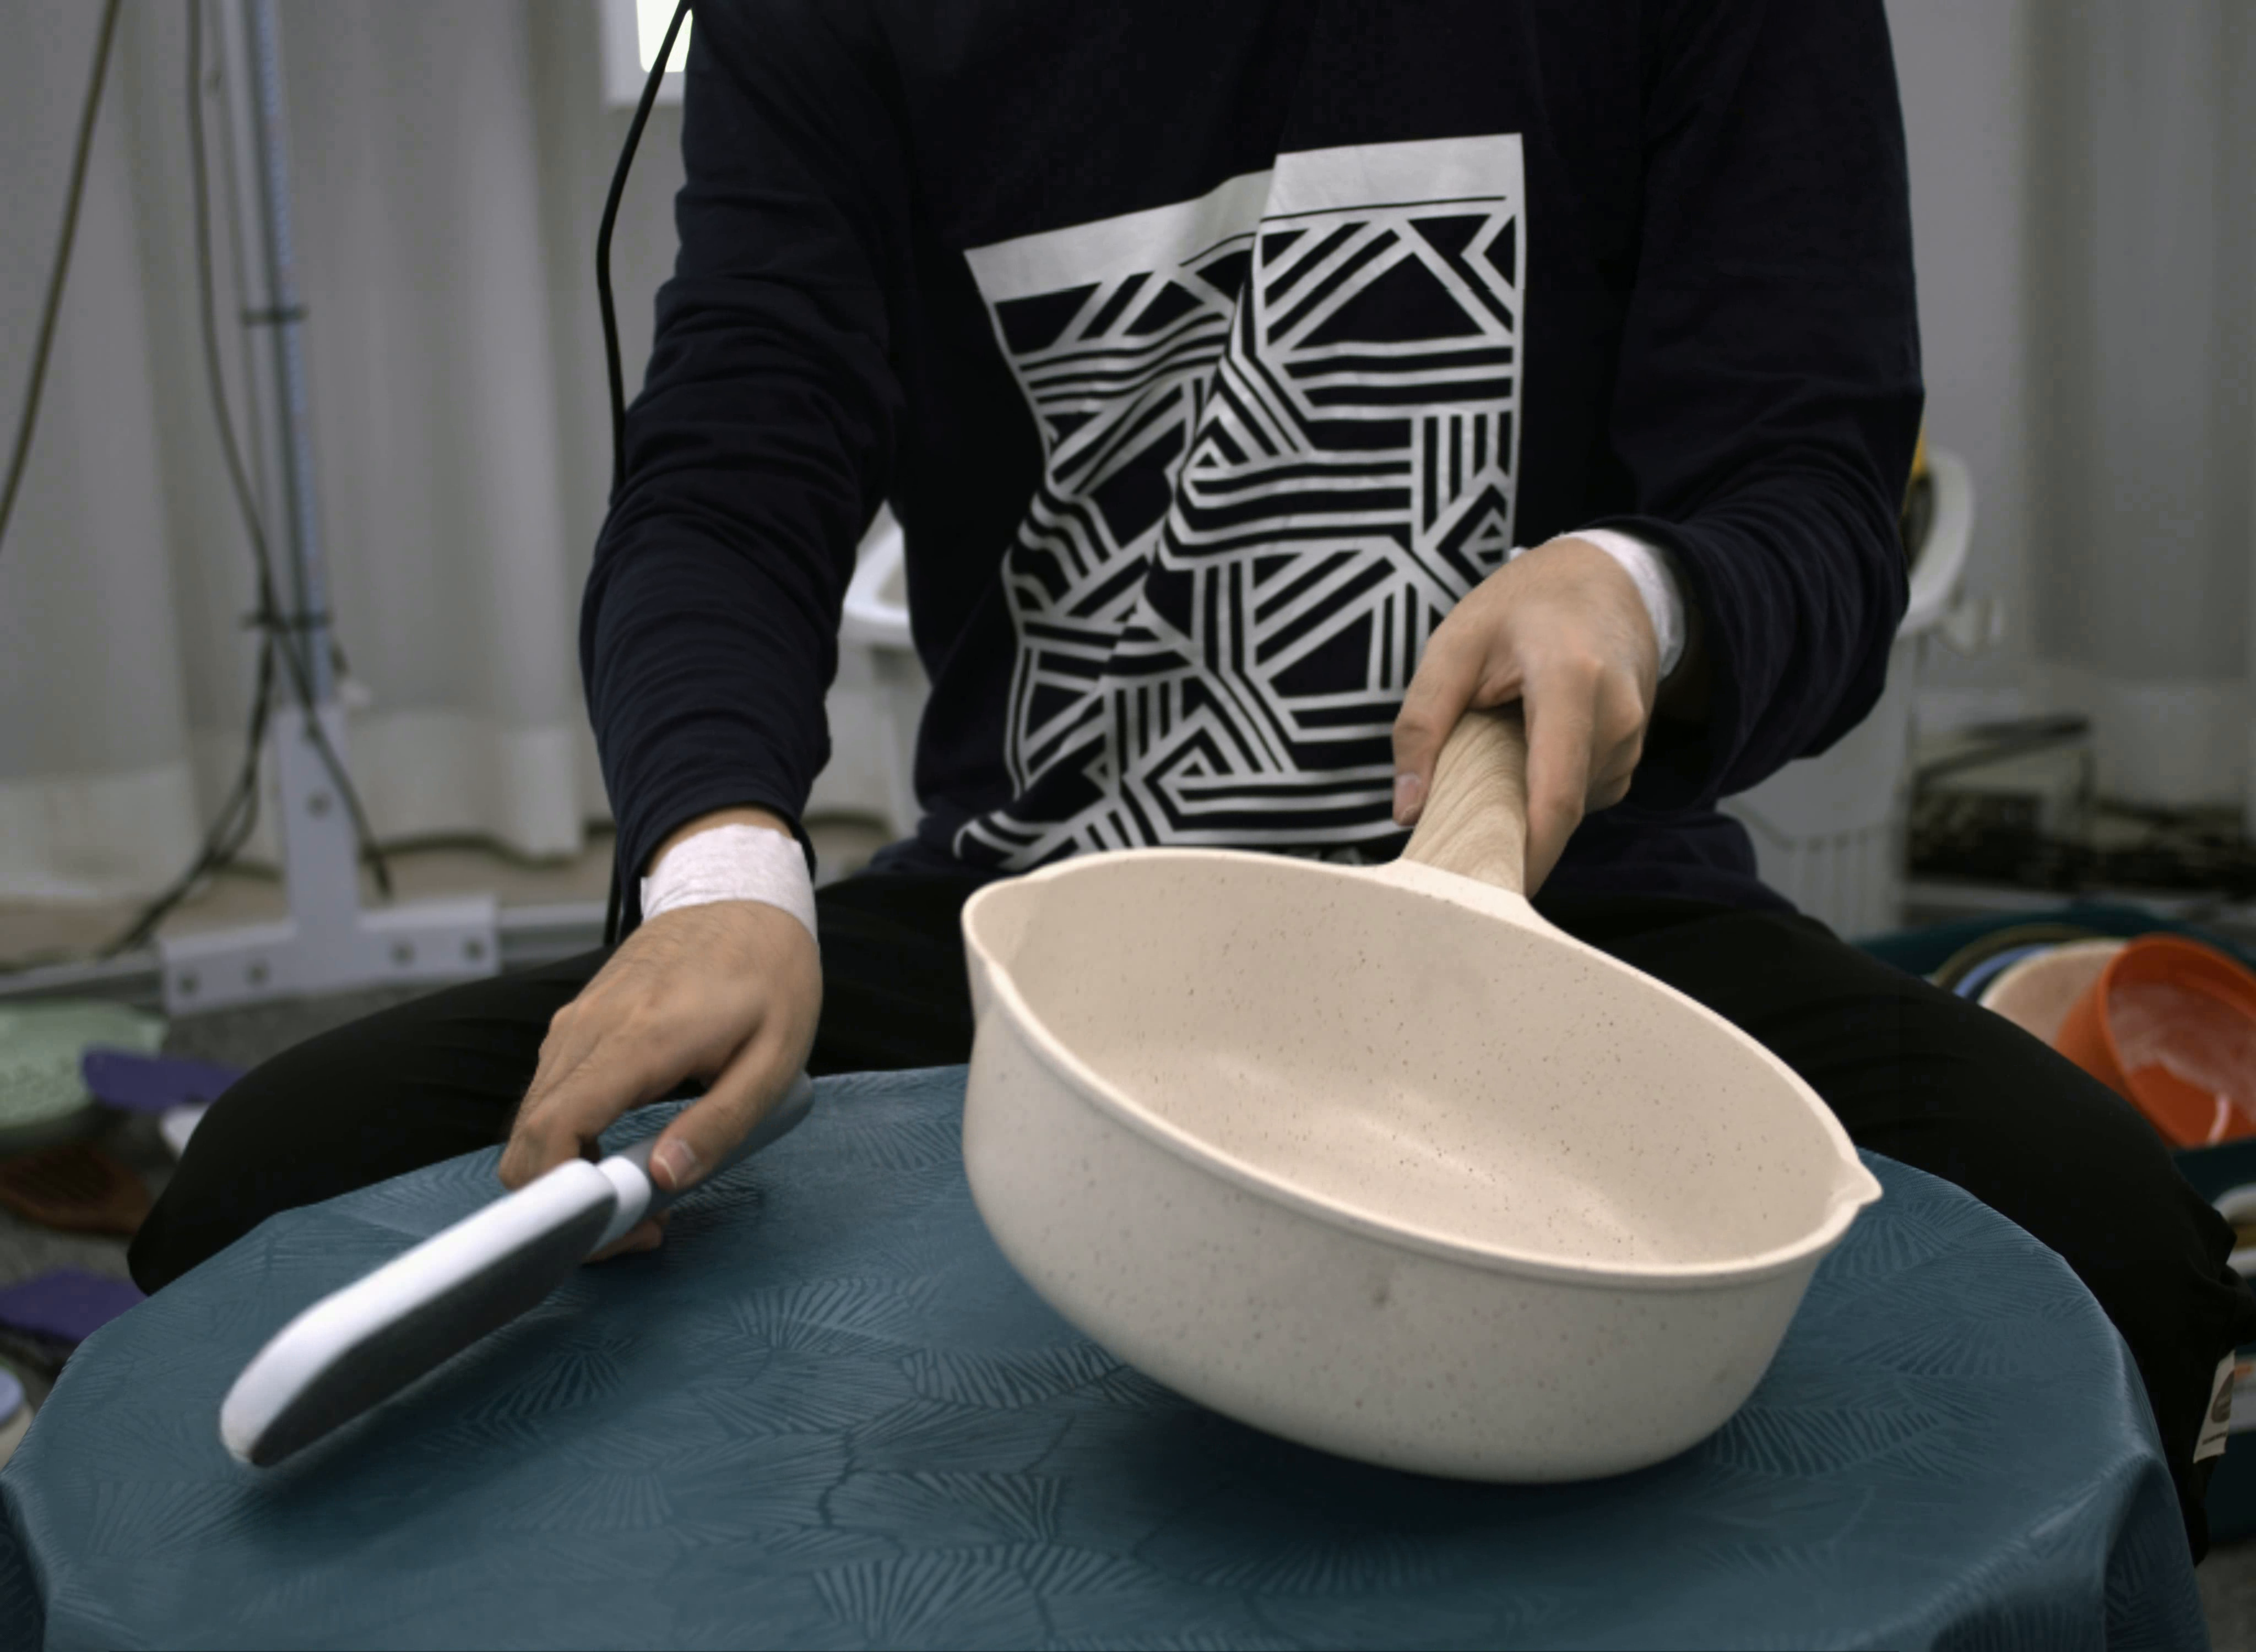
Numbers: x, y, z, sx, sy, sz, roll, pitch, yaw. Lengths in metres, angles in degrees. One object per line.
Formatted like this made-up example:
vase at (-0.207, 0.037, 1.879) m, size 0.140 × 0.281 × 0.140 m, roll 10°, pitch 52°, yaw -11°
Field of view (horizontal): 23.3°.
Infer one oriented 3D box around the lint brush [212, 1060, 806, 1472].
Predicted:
lint brush at (-0.173, 0.121, 1.609) m, size 0.021 × 0.059 × 0.309 m, roll 41°, pitch 27°, yaw 10°

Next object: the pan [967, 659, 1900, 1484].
pan at (0.088, 0.062, 1.592) m, size 0.263 × 0.101 × 0.438 m, roll 14°, pitch 20°, yaw 3°
